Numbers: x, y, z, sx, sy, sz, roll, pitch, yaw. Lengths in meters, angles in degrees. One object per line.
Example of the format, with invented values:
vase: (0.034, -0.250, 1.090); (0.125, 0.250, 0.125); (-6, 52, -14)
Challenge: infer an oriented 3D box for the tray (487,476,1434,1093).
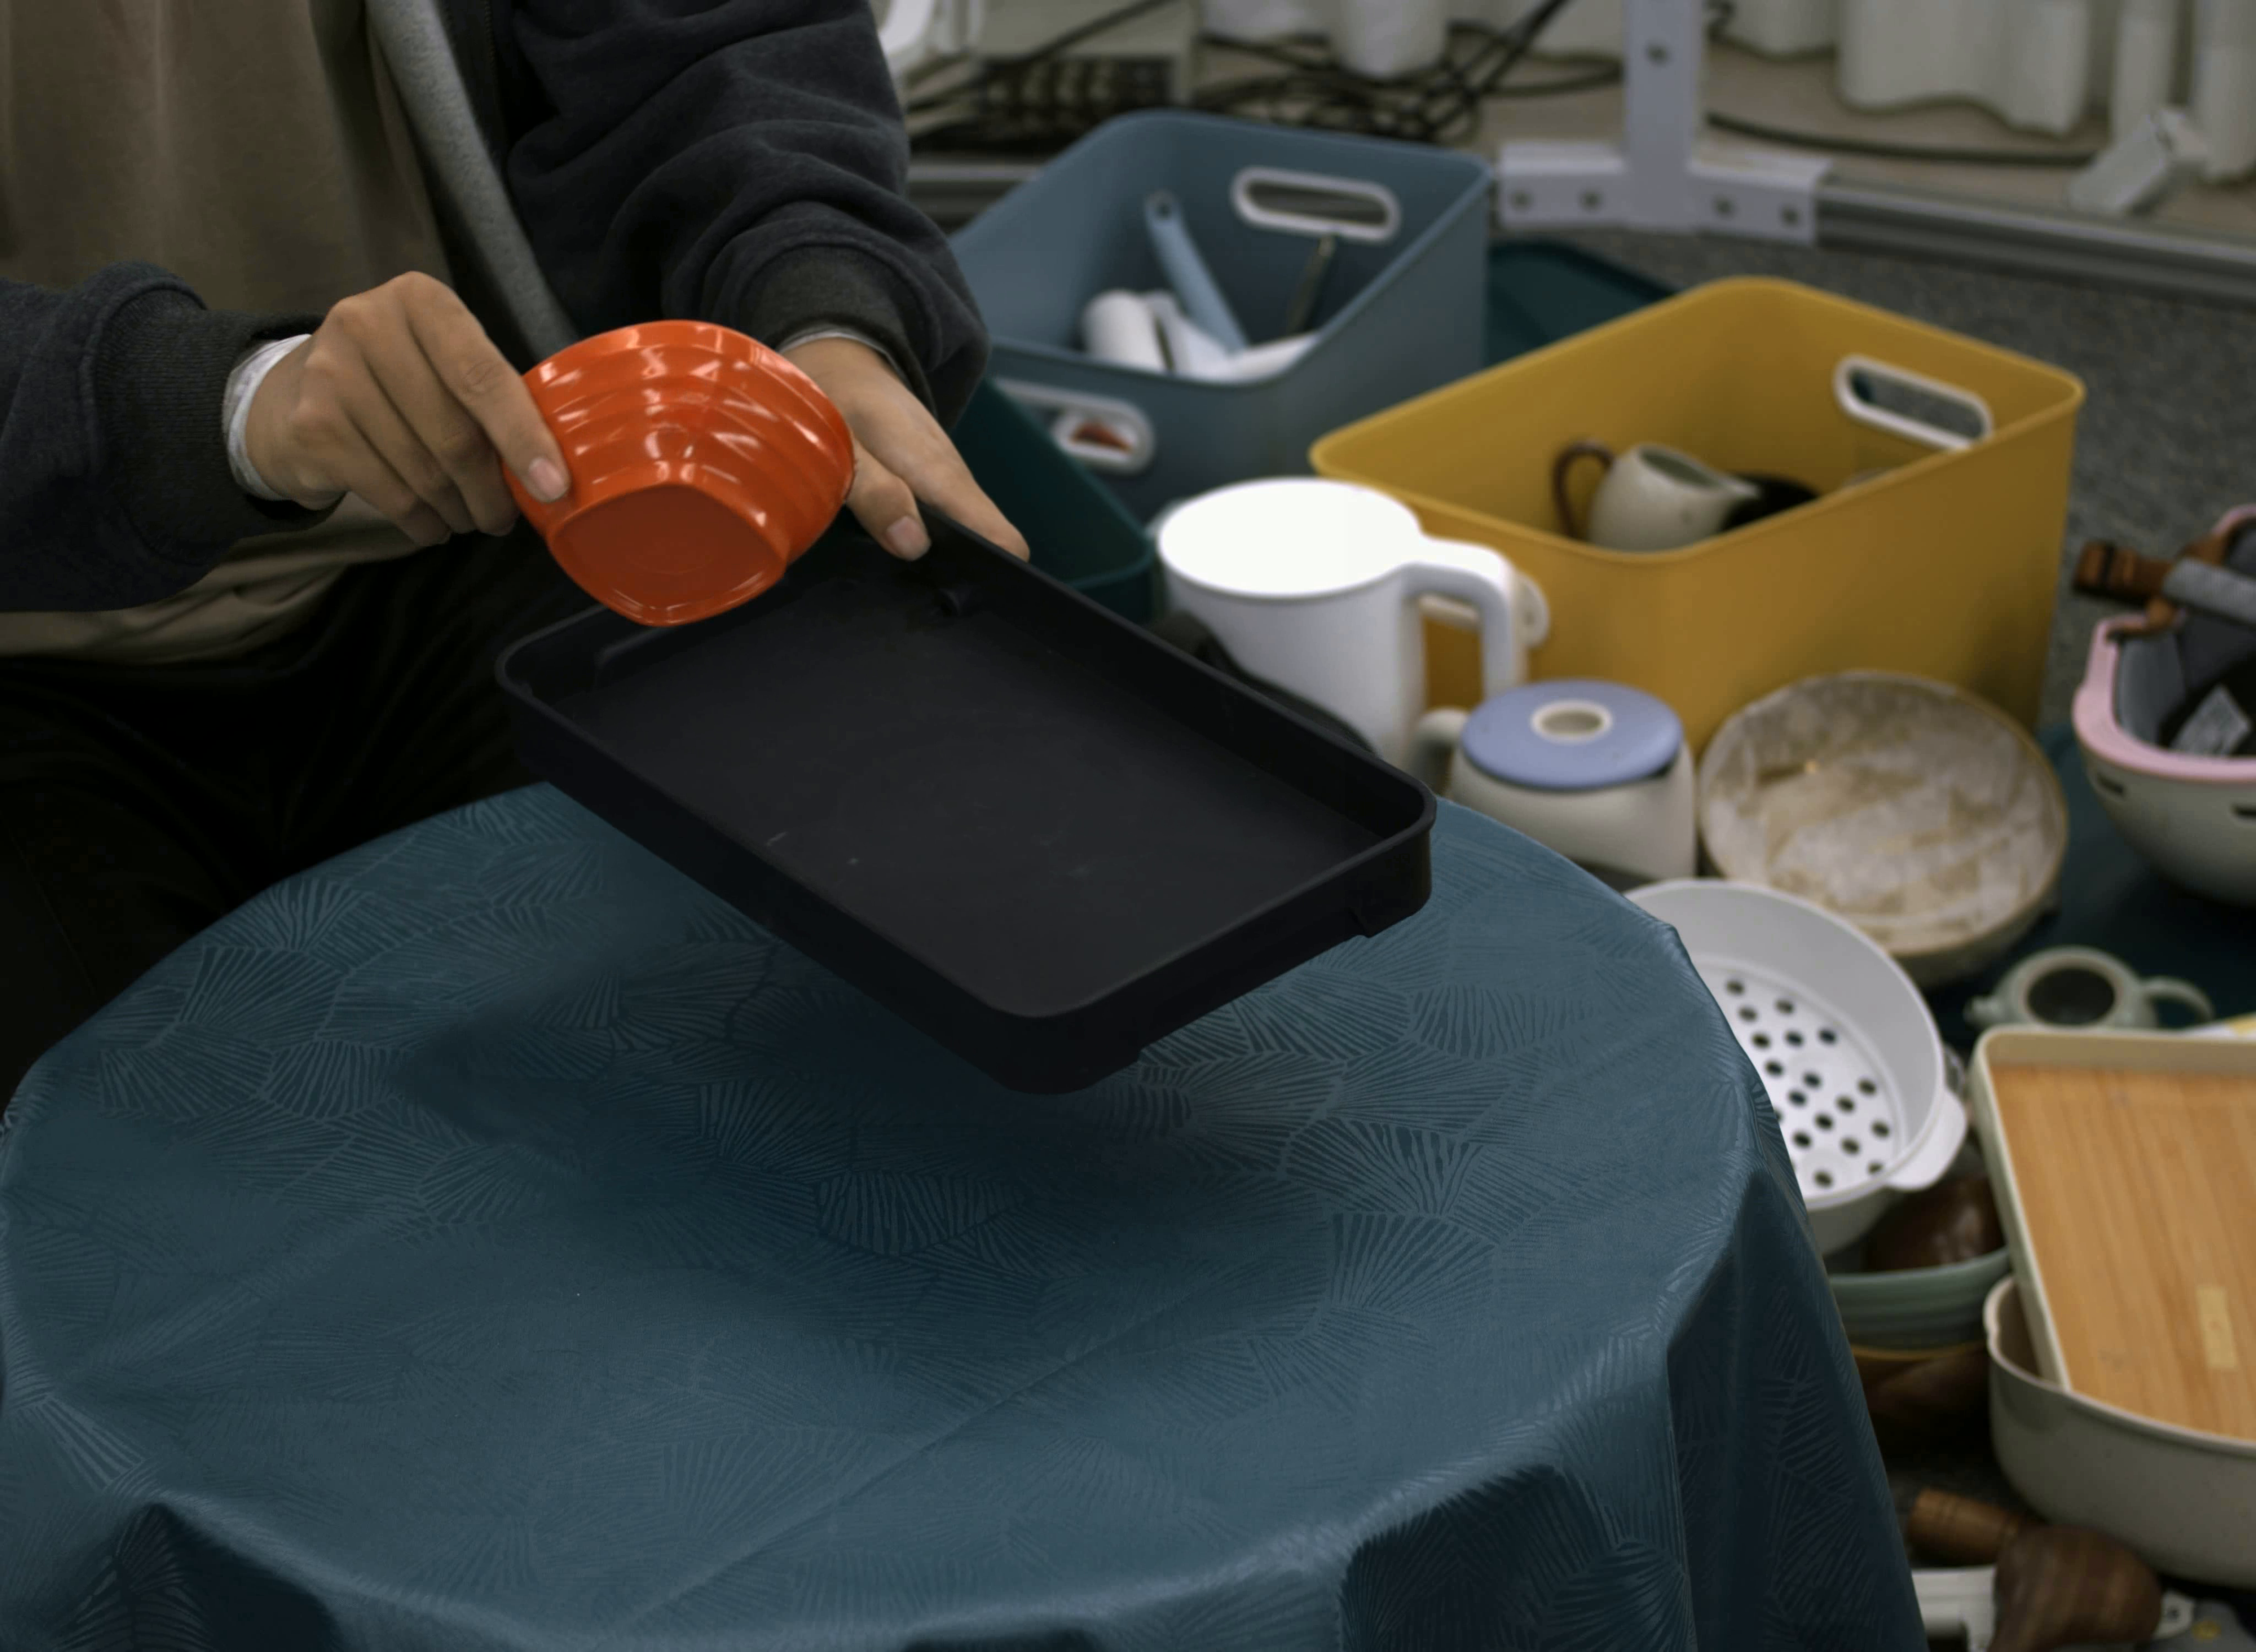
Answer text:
tray: (-0.060, -0.020, 1.906); (0.186, 0.036, 0.318); (-26, 39, -31)

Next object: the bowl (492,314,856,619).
bowl: (-0.148, -0.108, 1.816); (0.118, 0.117, 0.052); (-1, 55, 3)
